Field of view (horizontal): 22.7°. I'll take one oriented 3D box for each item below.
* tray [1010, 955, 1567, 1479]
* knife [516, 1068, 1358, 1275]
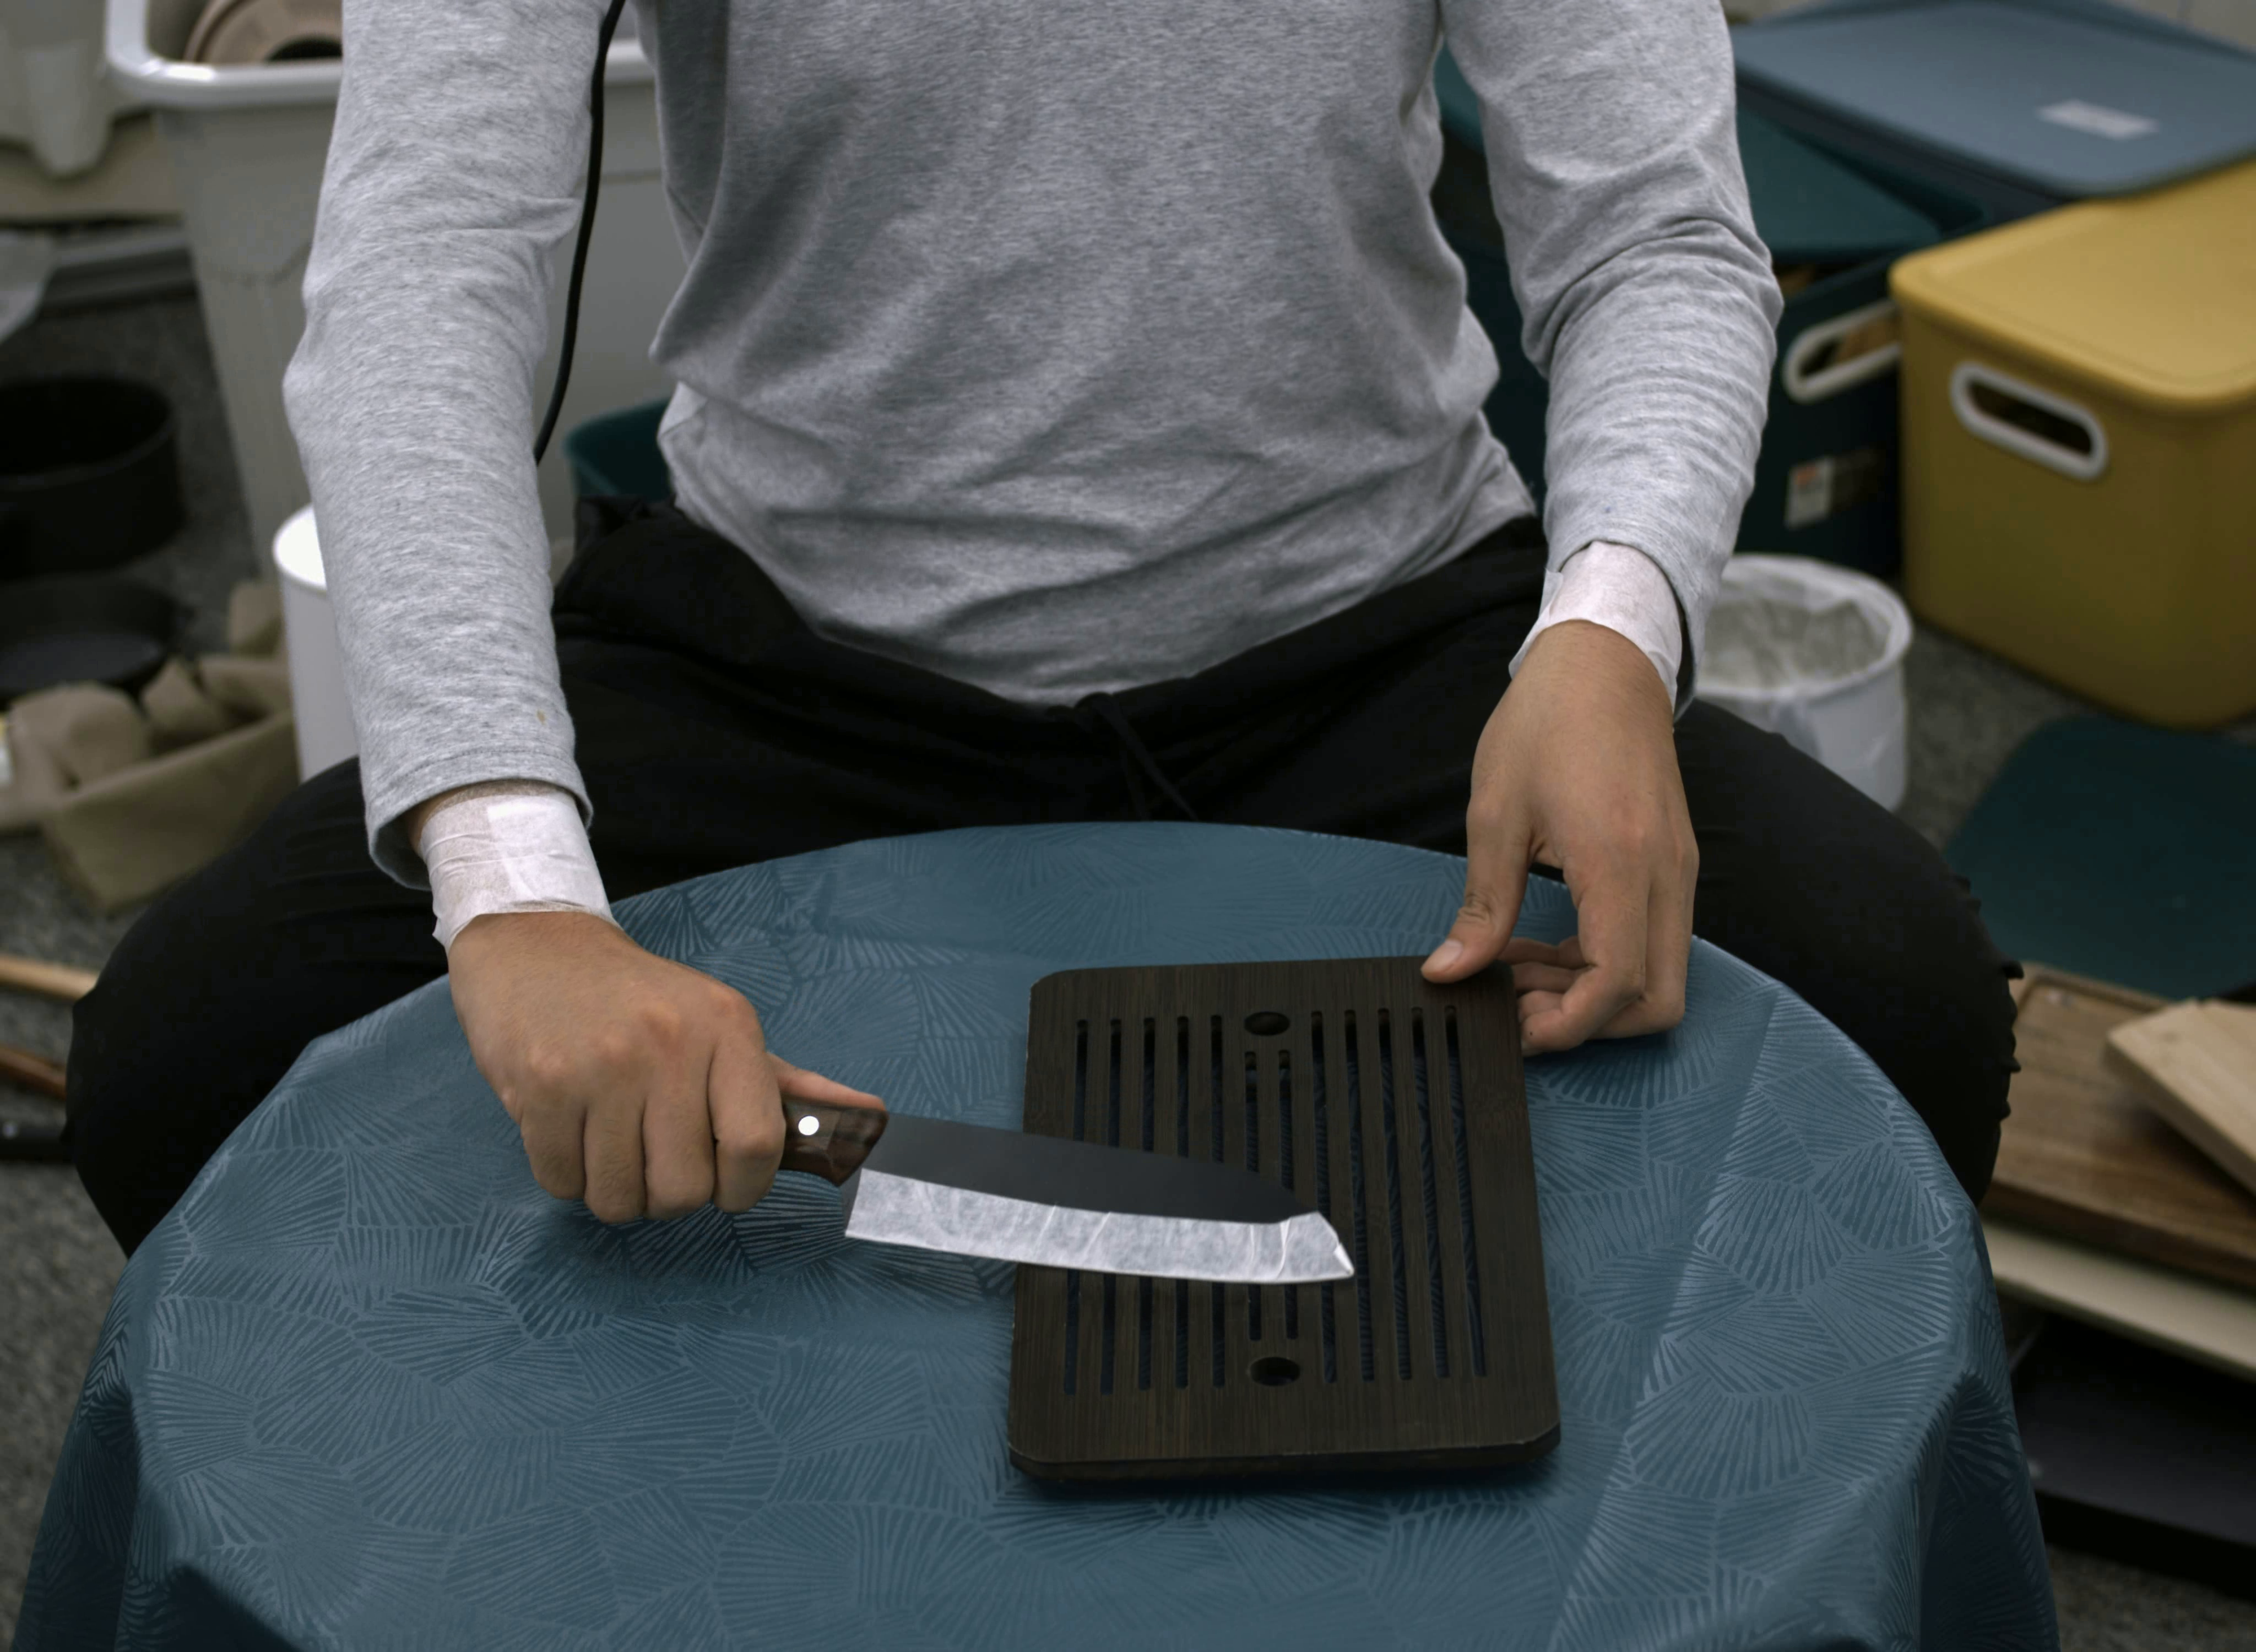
[{"bbox_3d":[0.051,0.125,1.831,0.169,0.018,0.310,-2,27,2],"label":"tray"},{"bbox_3d":[-0.064,0.112,1.814,0.287,0.020,0.051,9,68,14],"label":"knife"}]
